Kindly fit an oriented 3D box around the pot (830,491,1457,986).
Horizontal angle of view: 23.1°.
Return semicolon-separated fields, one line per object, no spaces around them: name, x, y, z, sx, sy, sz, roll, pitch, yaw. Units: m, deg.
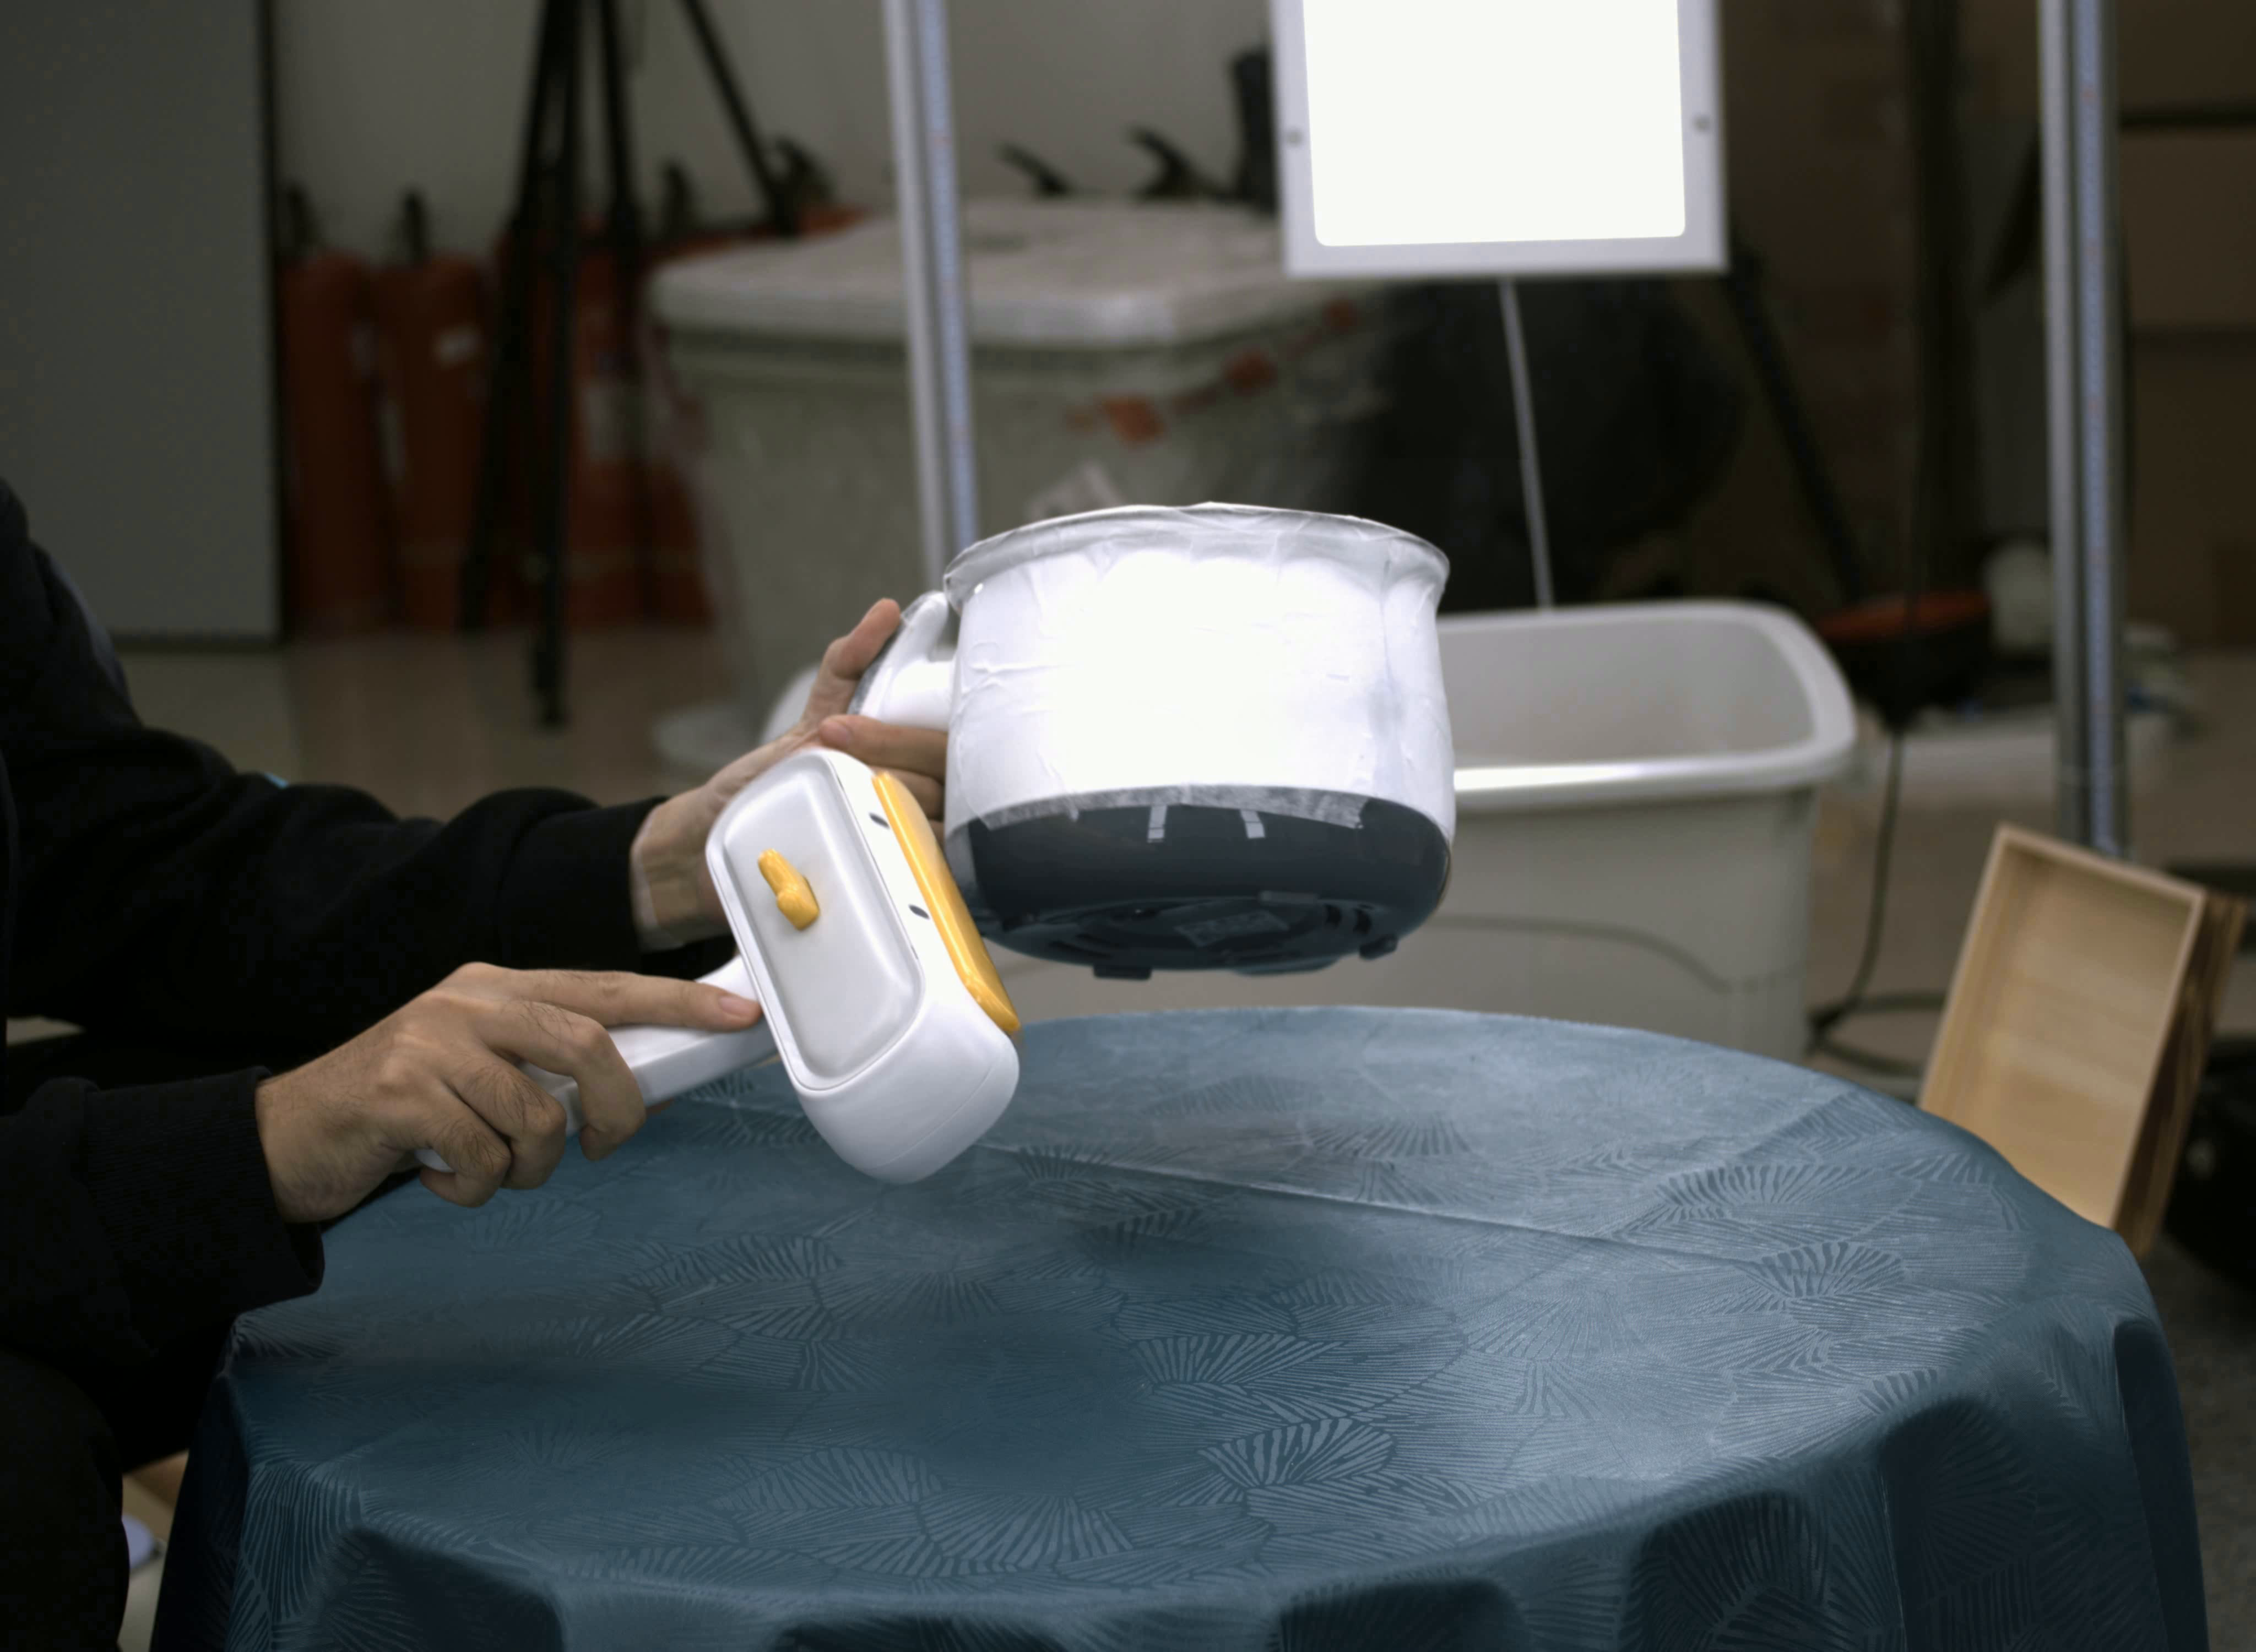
pot;-0.001;-0.025;1.910;0.237;0.136;0.176;-4;-16;22

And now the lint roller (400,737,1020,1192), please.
lint roller;-0.141;0.065;1.766;0.192;0.073;0.194;-34;38;1
